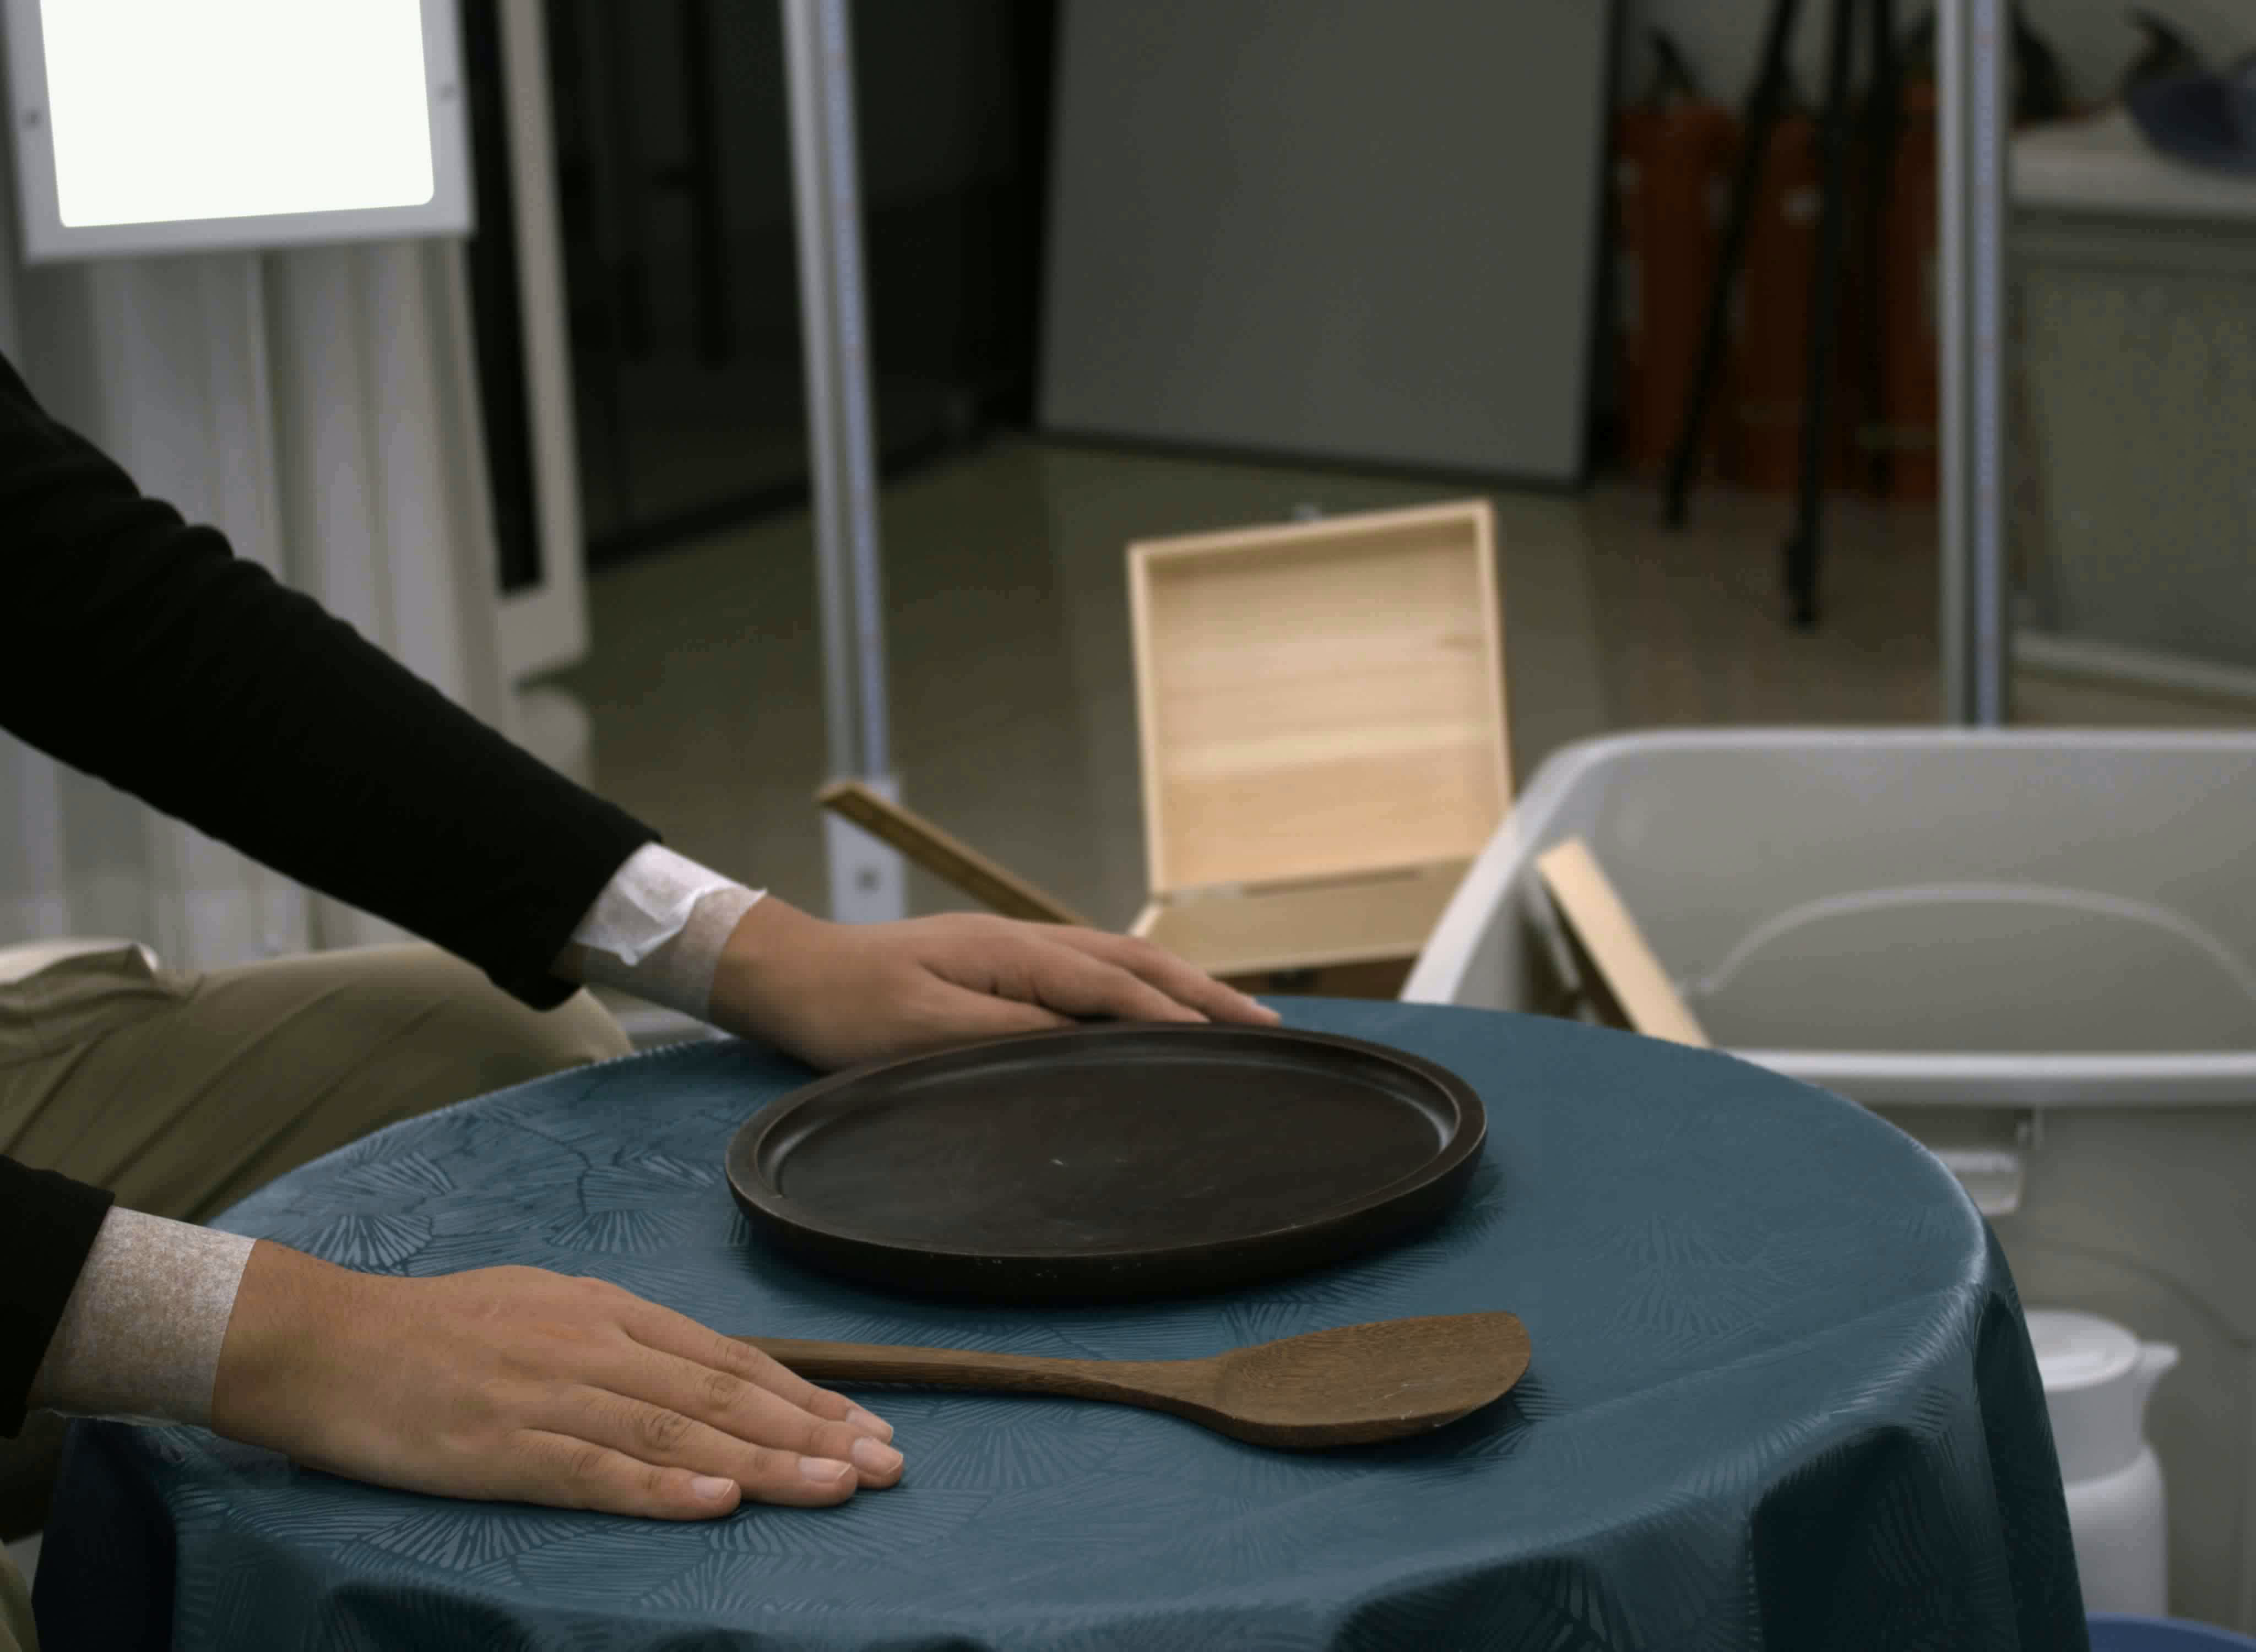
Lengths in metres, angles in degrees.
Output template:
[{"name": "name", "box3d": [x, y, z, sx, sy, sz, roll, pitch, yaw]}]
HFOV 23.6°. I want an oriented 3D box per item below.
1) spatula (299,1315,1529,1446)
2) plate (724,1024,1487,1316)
[{"name": "spatula", "box3d": [-0.070, 0.161, 1.600, 0.385, 0.016, 0.095, 0, 14, 17]}, {"name": "plate", "box3d": [-0.007, 0.111, 1.767, 0.251, 0.029, 0.255, -4, 15, 0]}]
